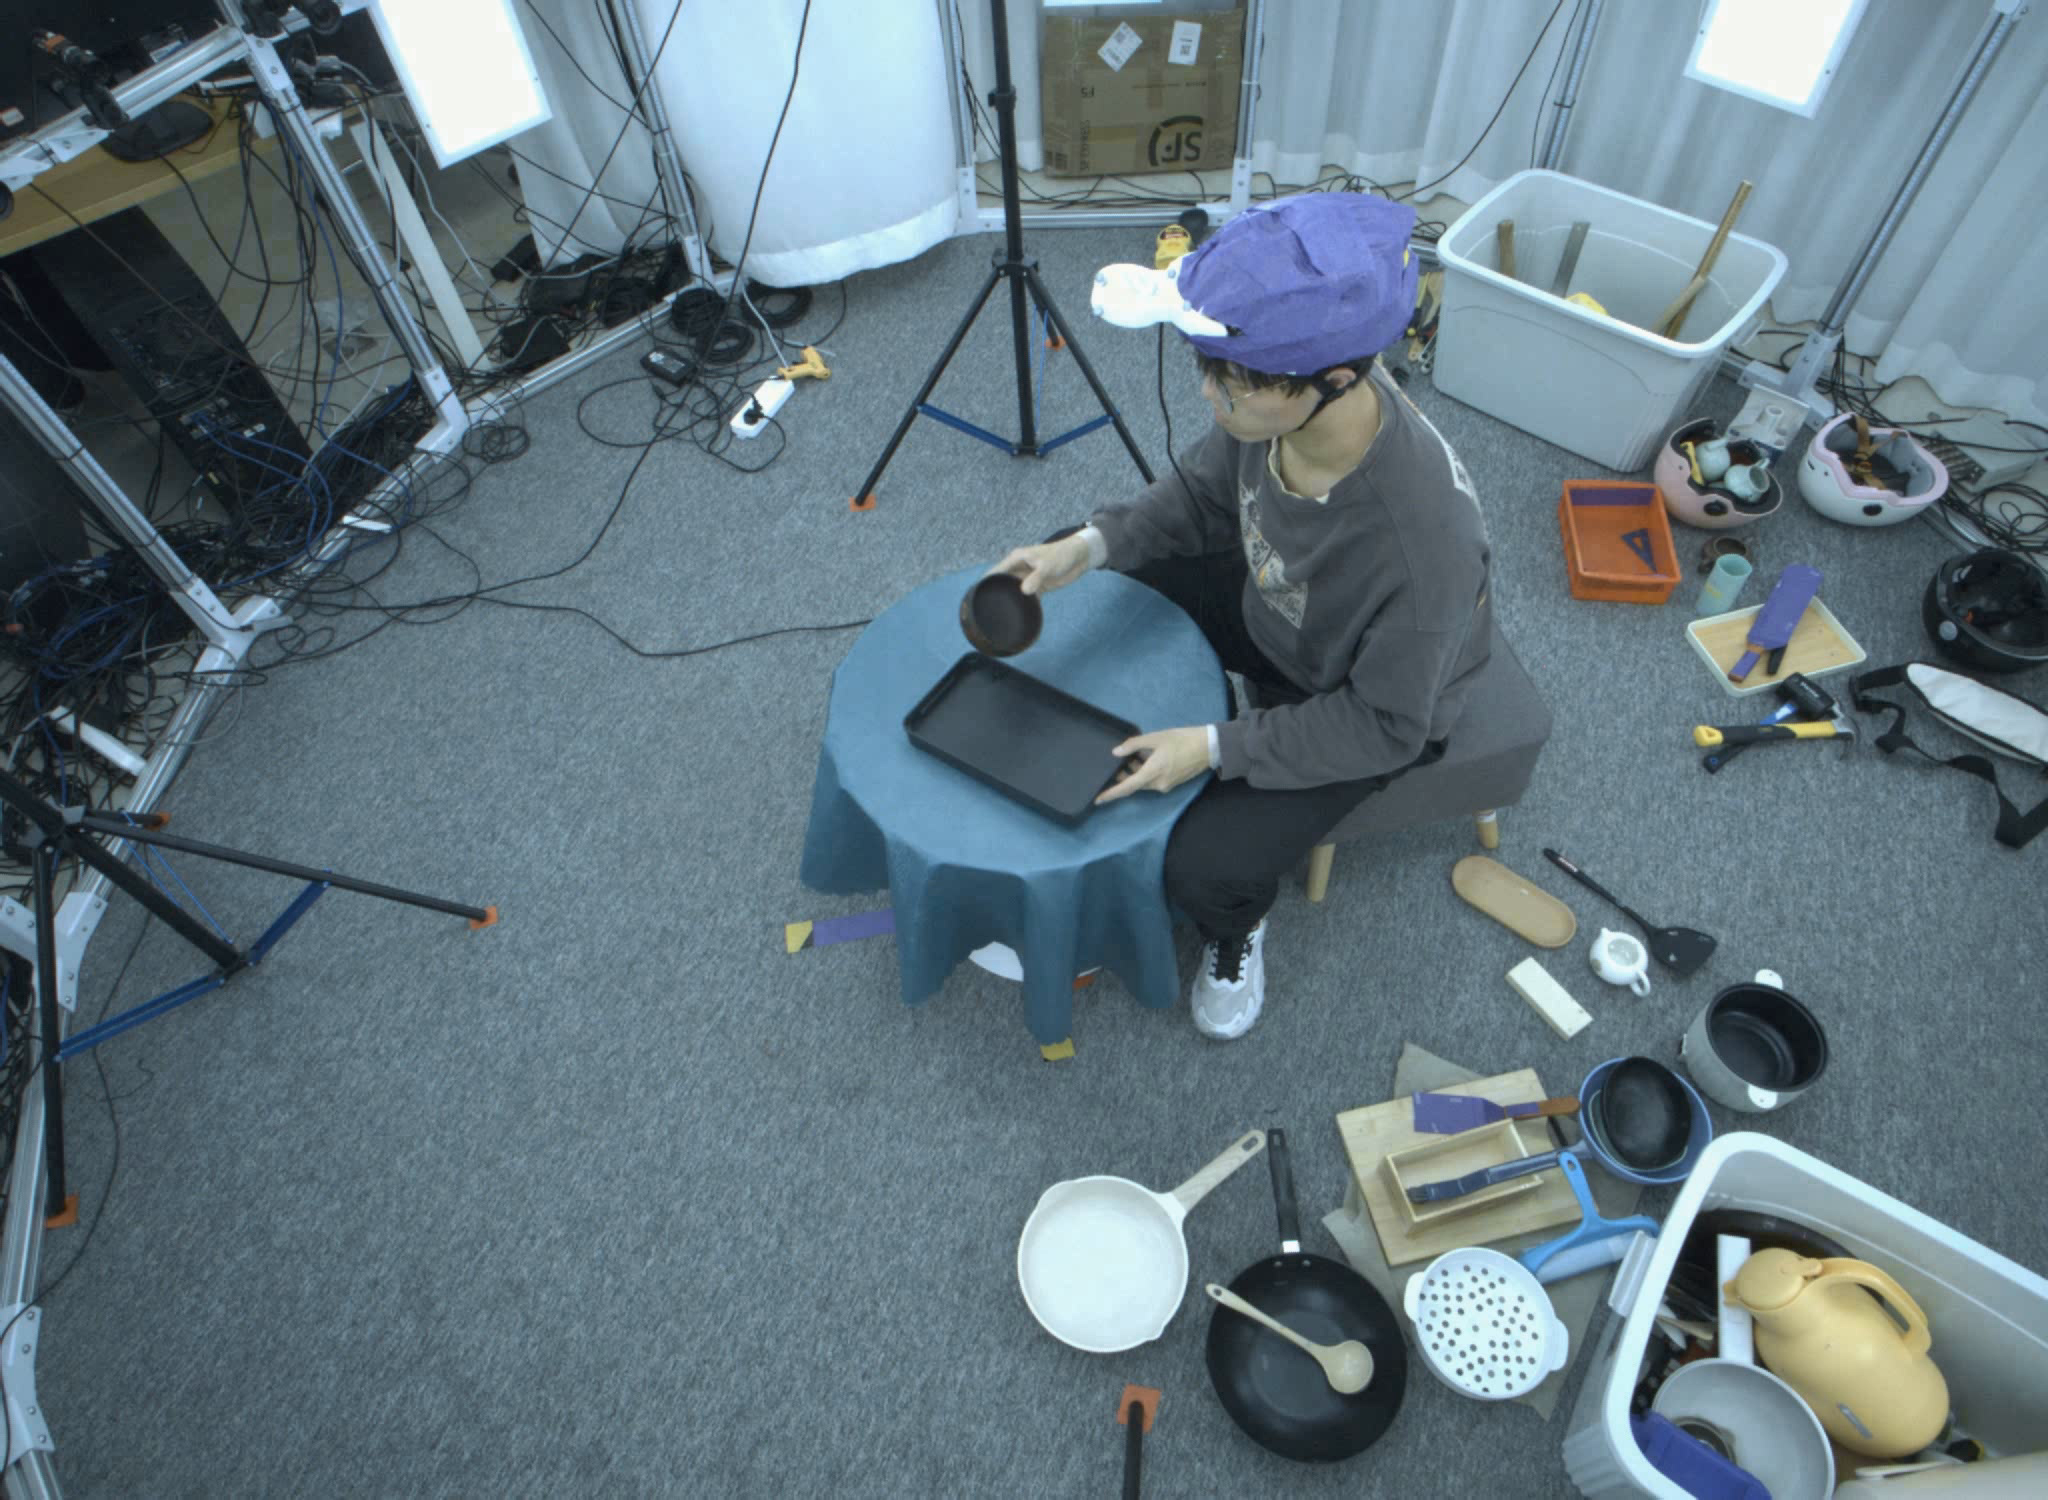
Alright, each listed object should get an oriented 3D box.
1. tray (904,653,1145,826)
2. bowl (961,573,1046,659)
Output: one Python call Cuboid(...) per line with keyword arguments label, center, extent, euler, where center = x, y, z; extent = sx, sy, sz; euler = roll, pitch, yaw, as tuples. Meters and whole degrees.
Cuboid(label="tray", center=(0.000, -0.020, 1.769), extent=(0.312, 0.037, 0.185), euler=(25, 58, 22))
Cuboid(label="bowl", center=(-0.036, -0.182, 1.723), extent=(0.120, 0.069, 0.117), euler=(9, 73, -29))
